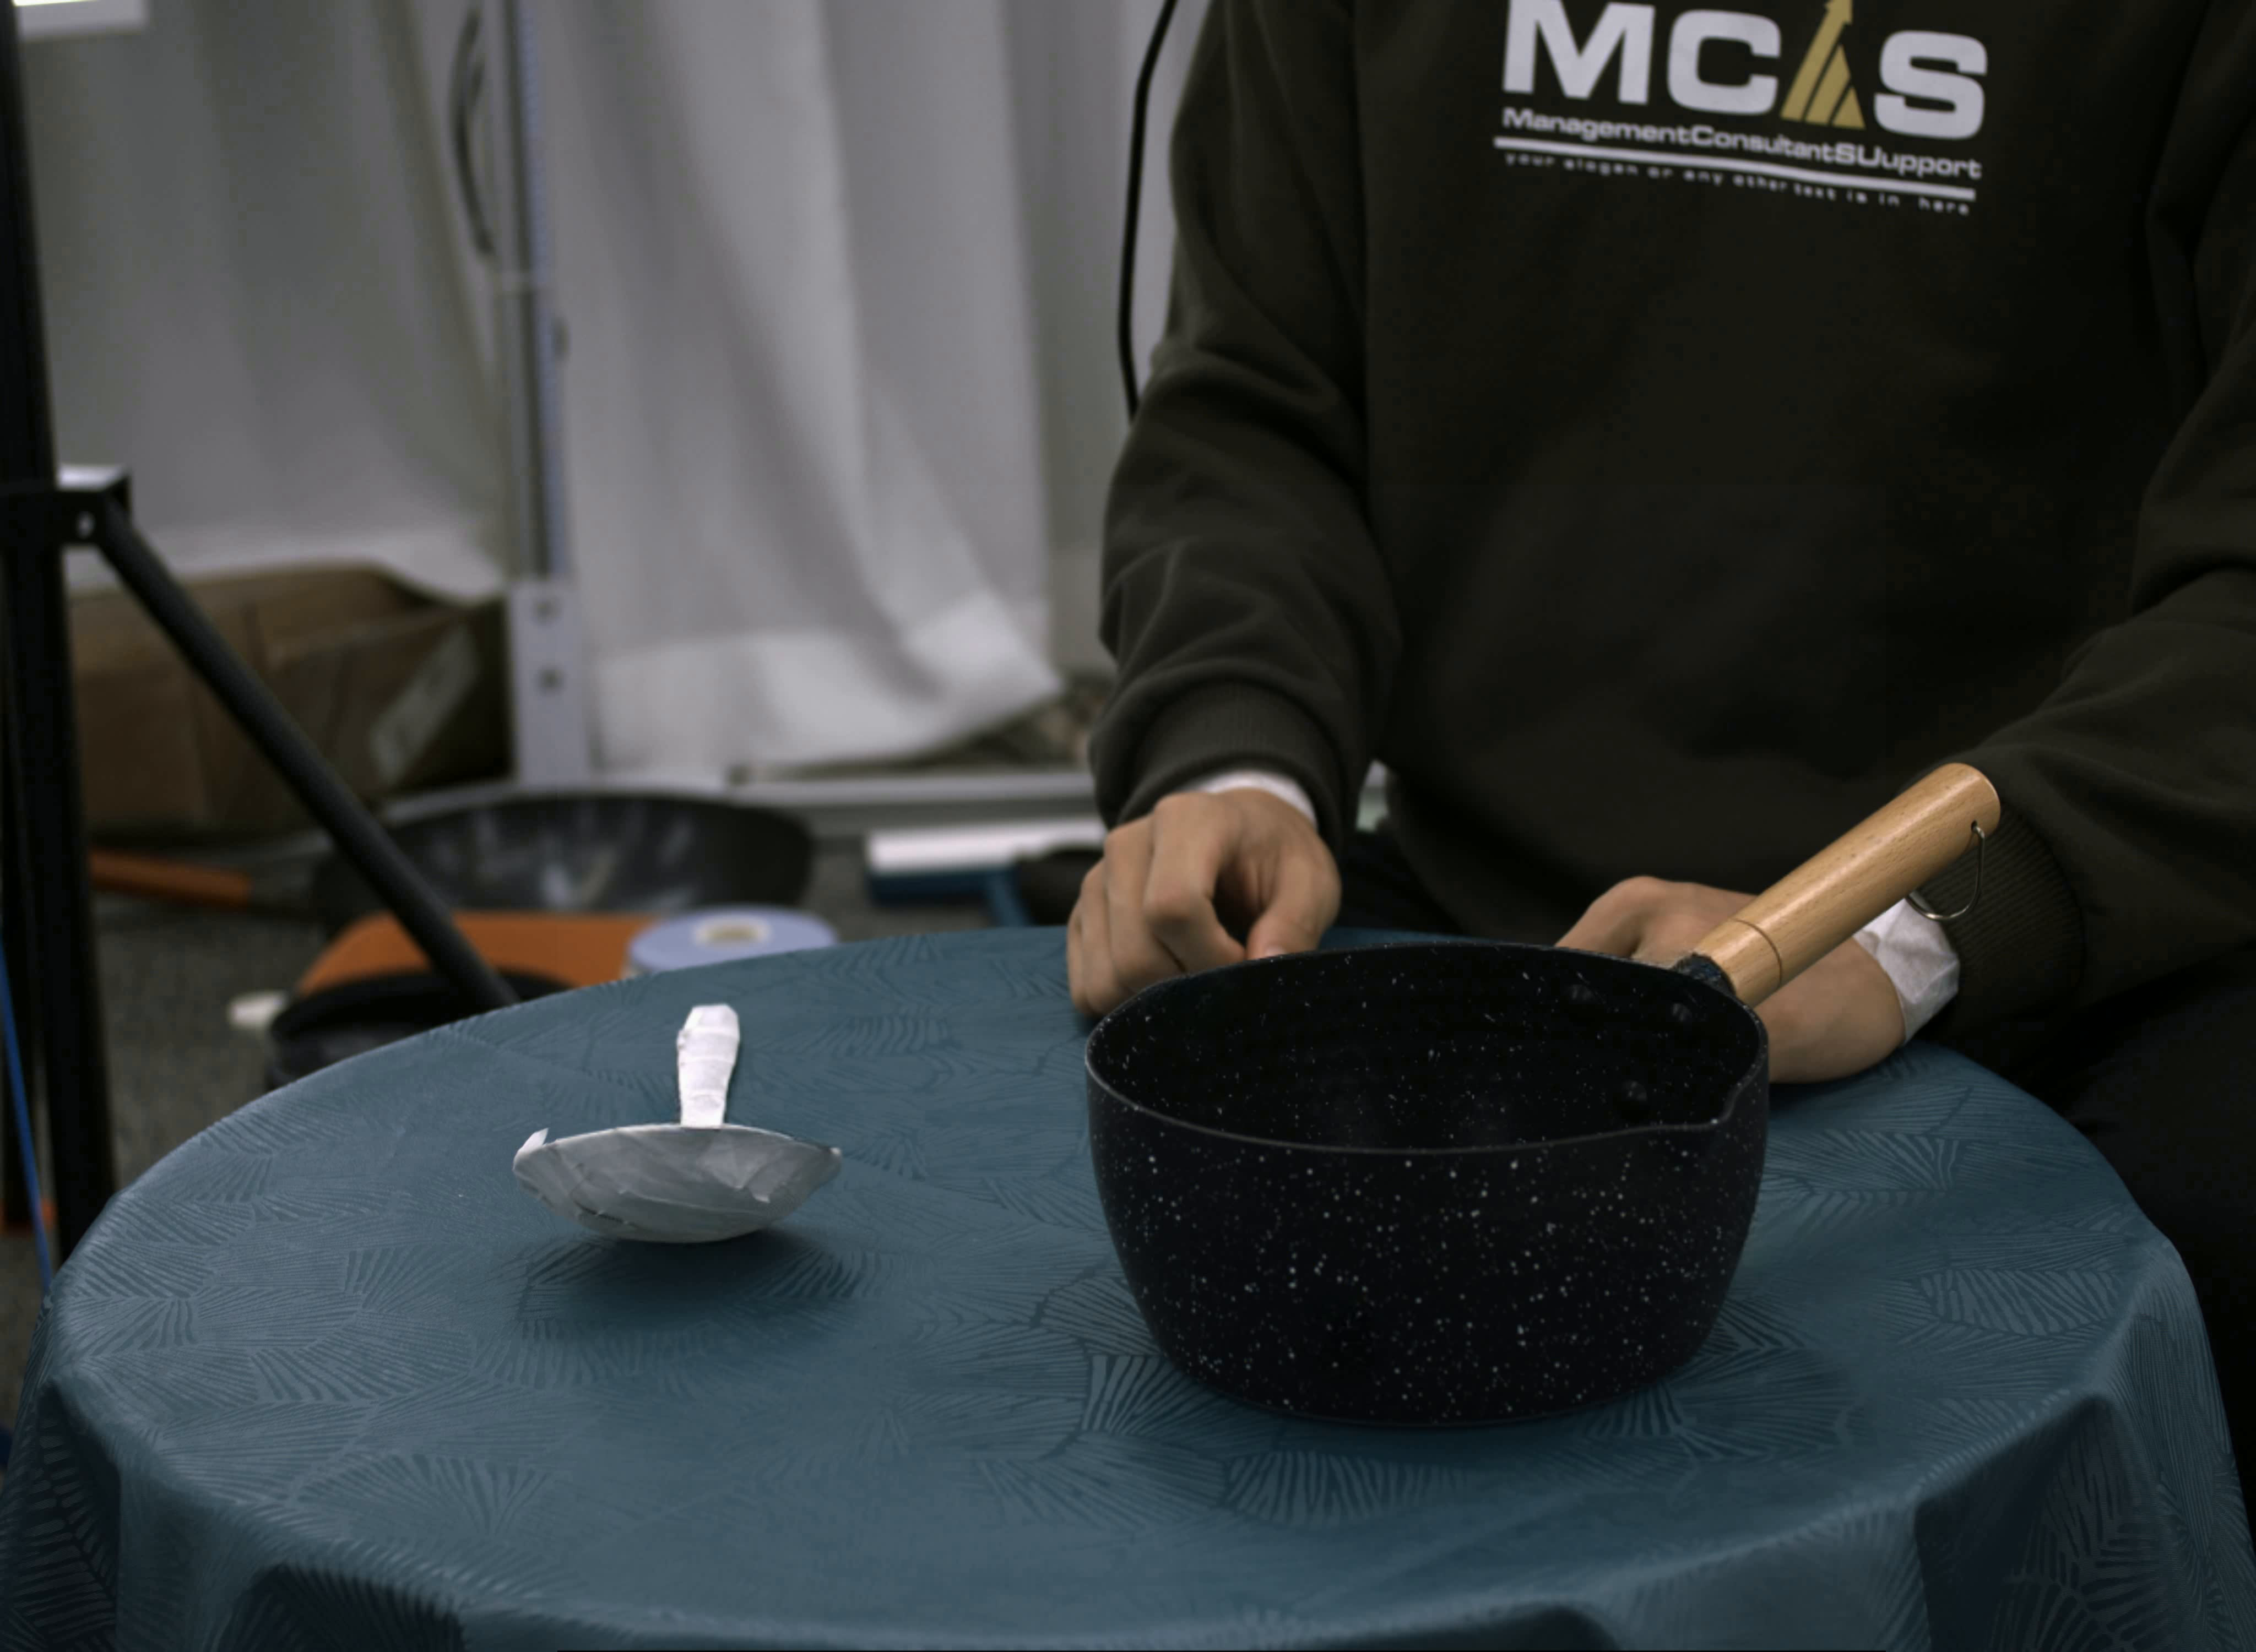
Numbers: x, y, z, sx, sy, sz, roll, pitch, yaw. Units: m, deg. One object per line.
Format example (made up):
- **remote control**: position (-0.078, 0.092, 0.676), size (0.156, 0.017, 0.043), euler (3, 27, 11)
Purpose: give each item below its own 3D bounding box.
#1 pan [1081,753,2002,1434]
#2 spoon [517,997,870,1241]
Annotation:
- **pan**: position (0.135, 0.069, 1.481), size (0.212, 0.108, 0.335), euler (11, 22, 43)
- **spoon**: position (-0.122, 0.071, 1.609), size (0.100, 0.059, 0.278), euler (2, 15, 1)
